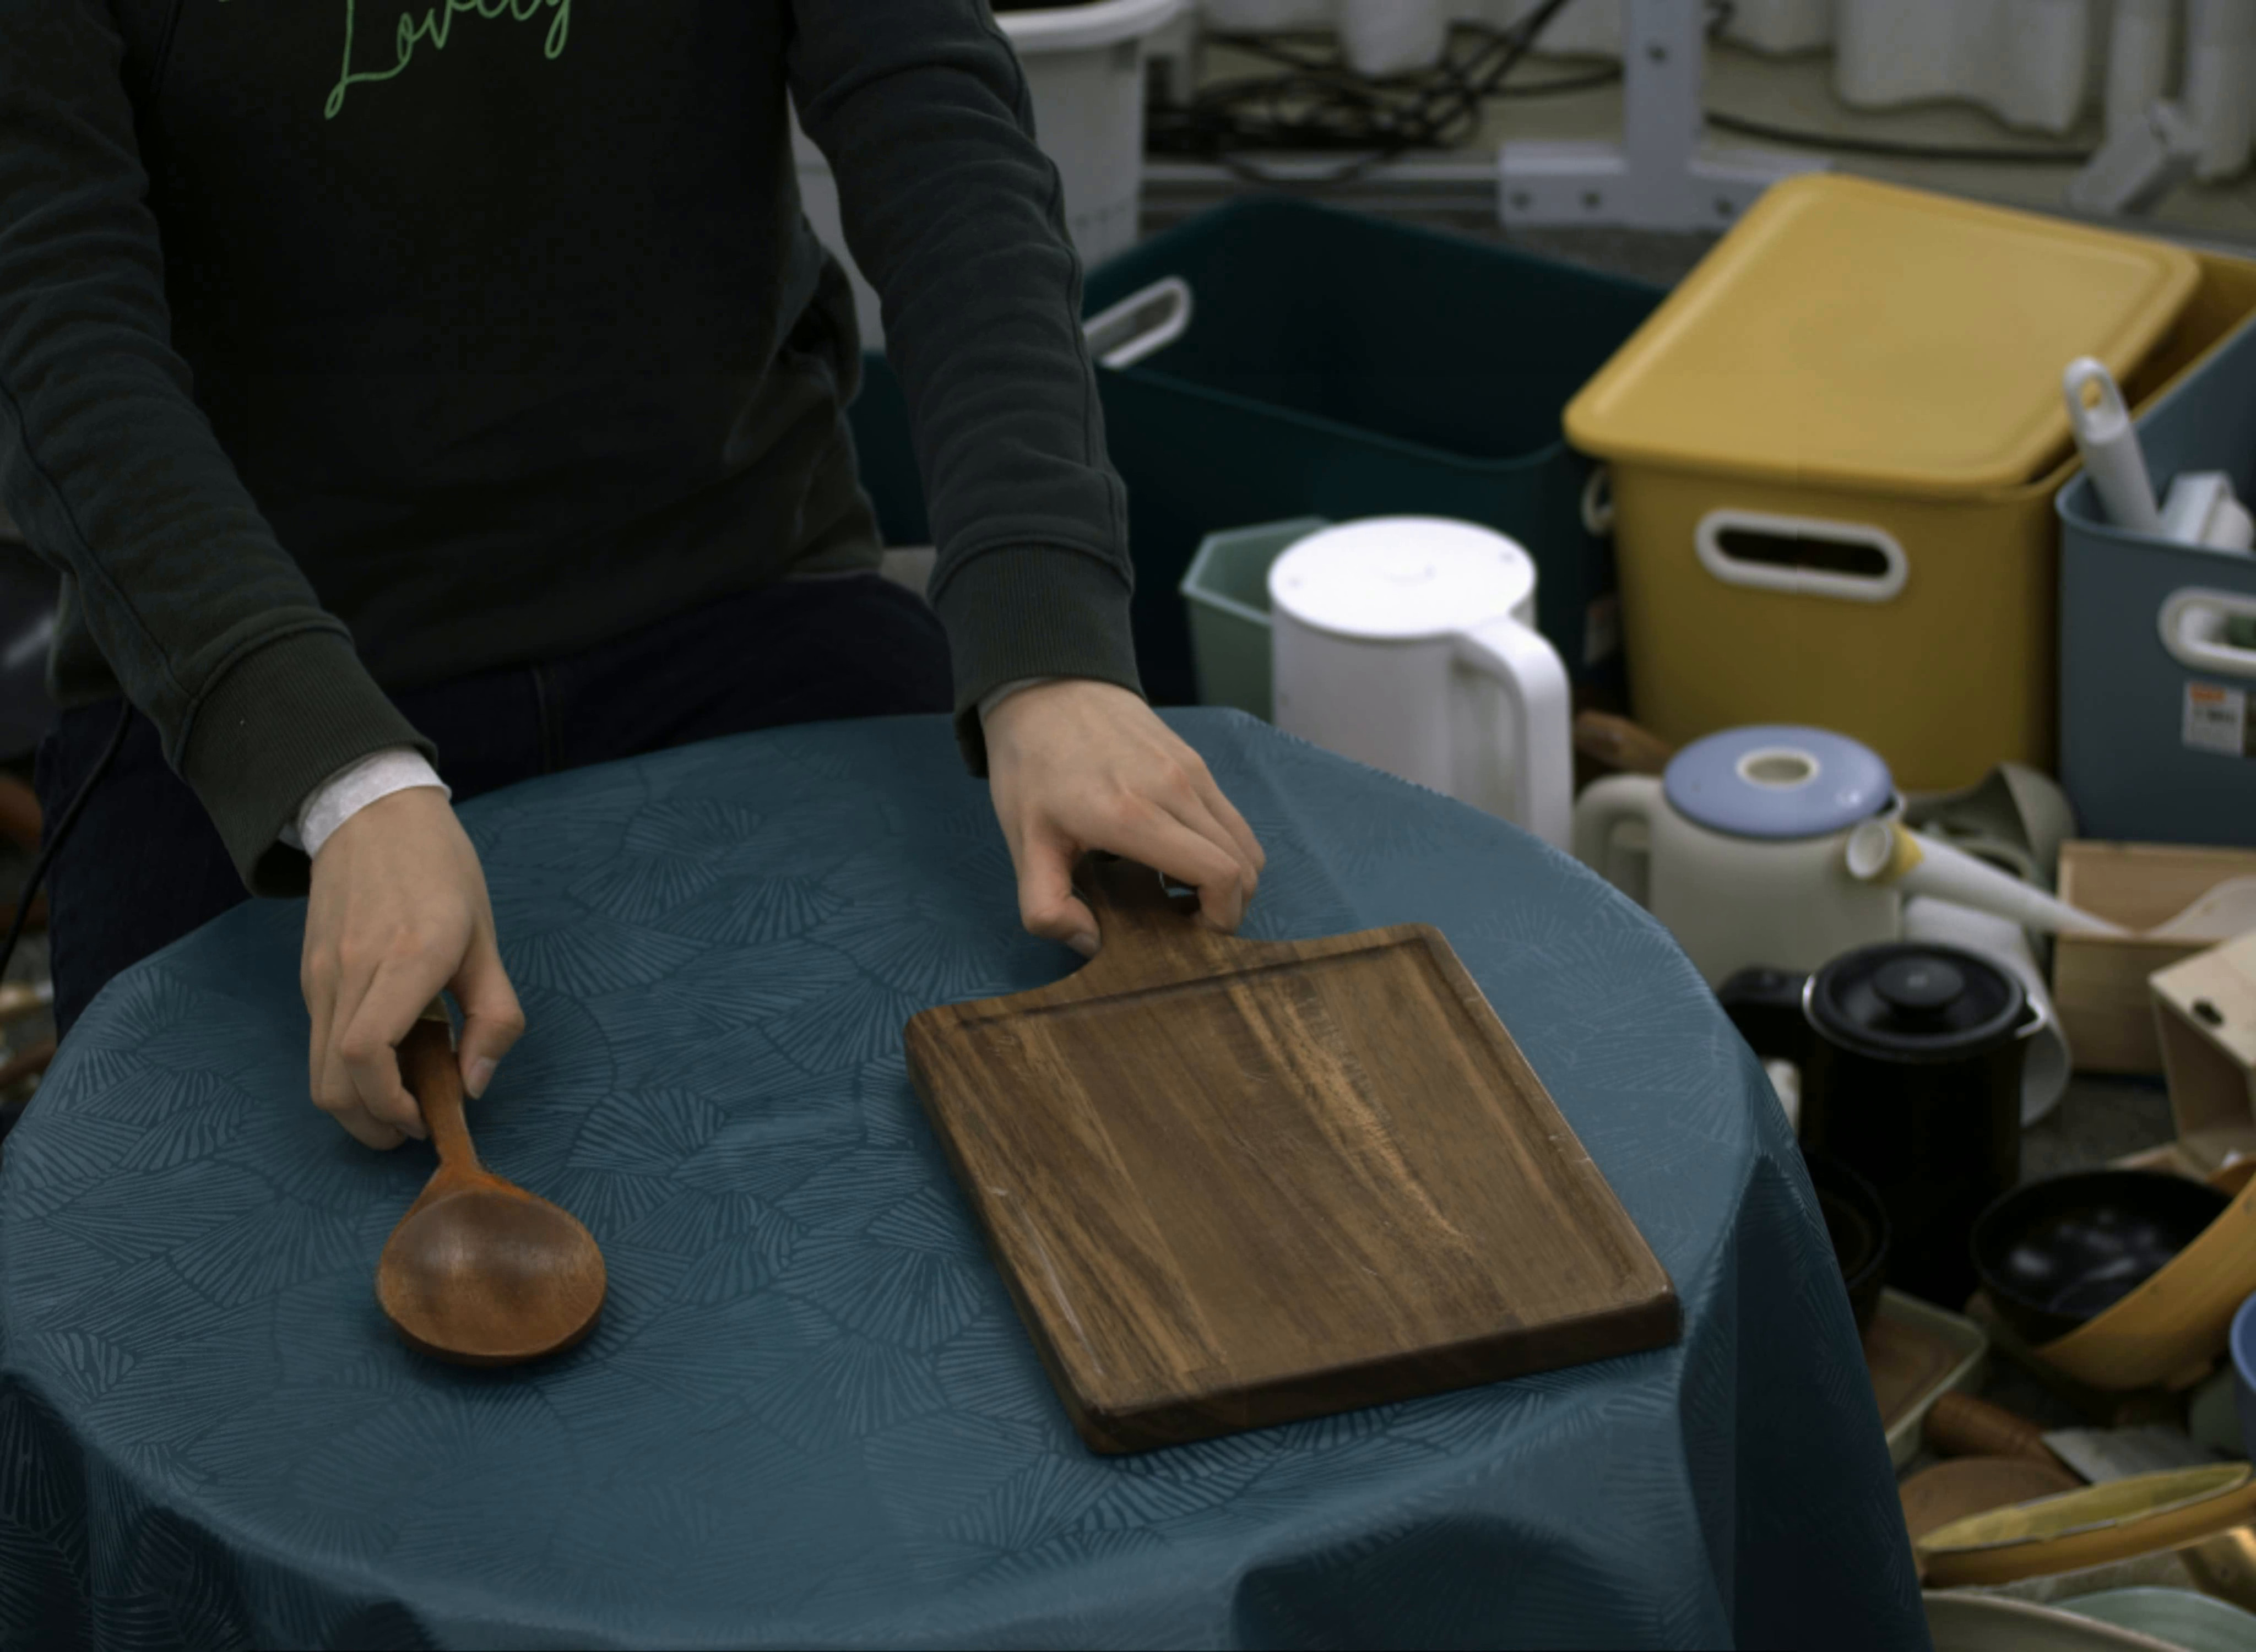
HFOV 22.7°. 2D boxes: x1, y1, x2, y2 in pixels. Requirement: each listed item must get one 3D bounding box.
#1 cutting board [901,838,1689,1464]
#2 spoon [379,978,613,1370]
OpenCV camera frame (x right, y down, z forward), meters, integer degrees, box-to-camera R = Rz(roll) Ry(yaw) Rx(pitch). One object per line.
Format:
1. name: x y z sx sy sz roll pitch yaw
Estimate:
1. cutting board: 0.036 0.093 1.886 0.201 0.023 0.356 -10 29 -12
2. spoon: -0.219 0.115 1.858 0.075 0.017 0.219 -9 34 -11
